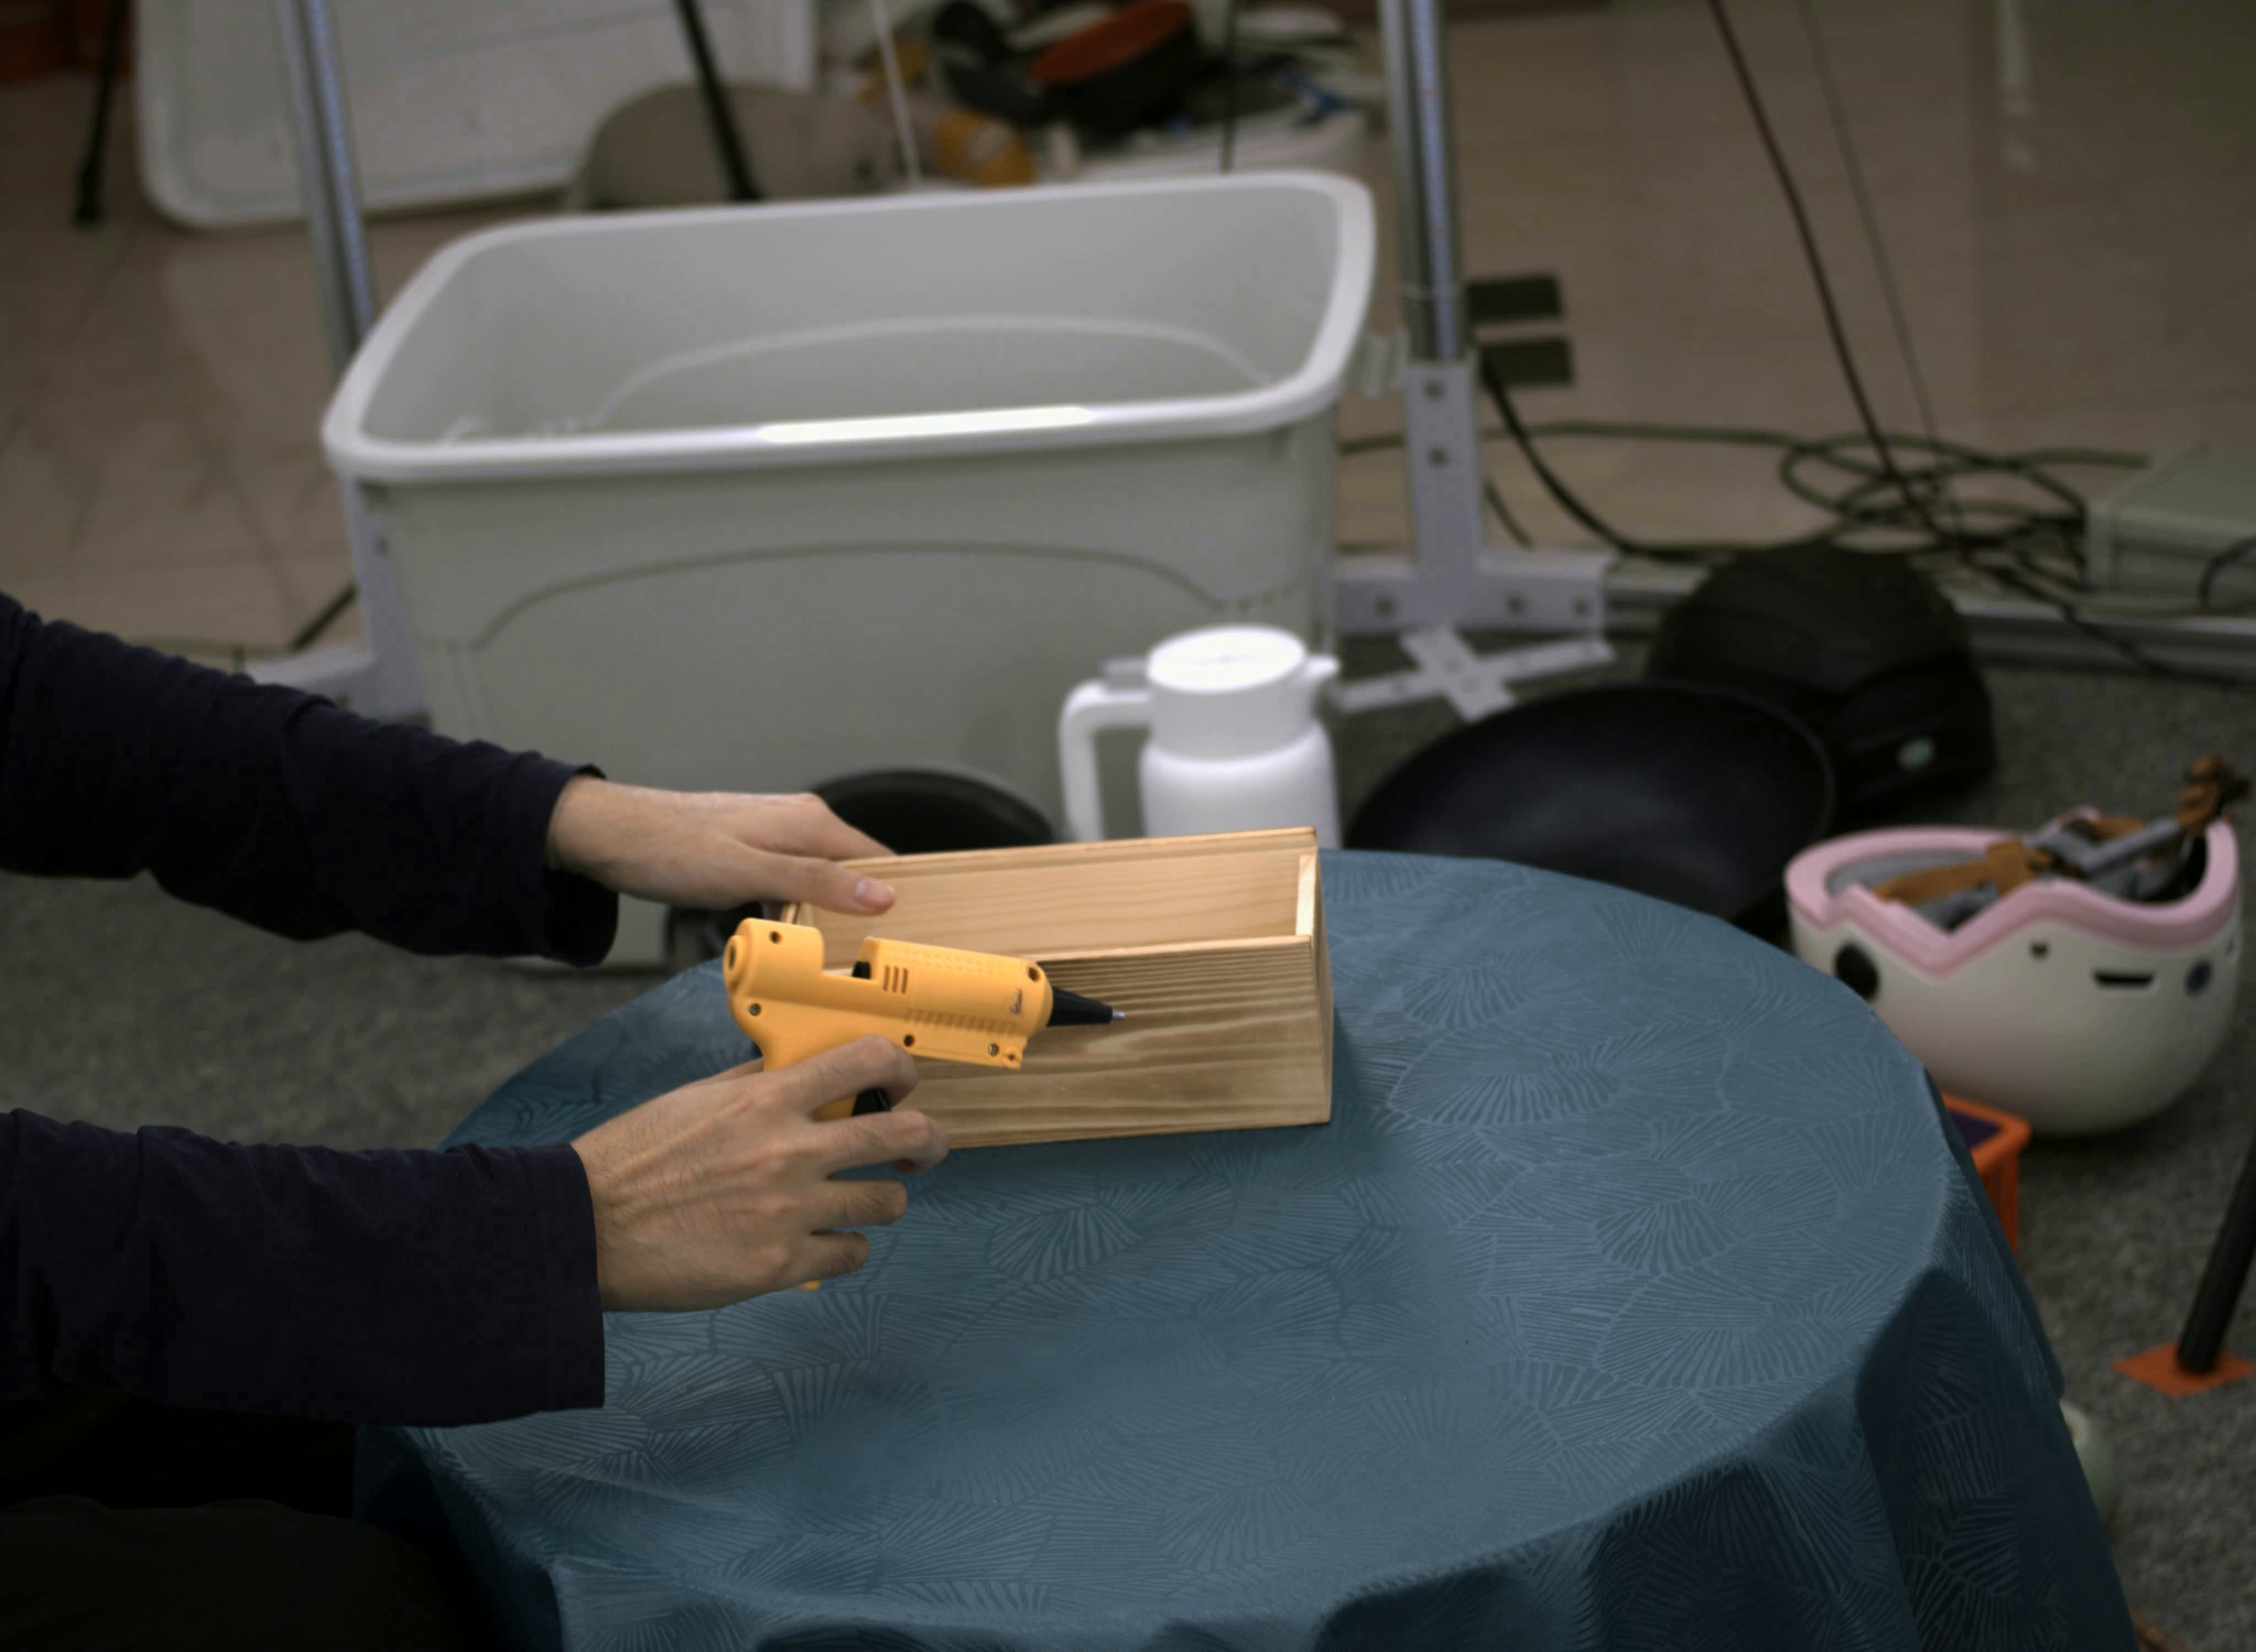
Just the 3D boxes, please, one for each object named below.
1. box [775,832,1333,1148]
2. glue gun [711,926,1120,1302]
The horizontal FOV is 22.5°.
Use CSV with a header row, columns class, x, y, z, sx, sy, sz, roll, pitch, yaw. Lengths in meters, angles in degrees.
class,x,y,z,sx,sy,sz,roll,pitch,yaw
box,-0.029,0.065,2.219,0.211,0.081,0.106,-3,26,5
glue gun,-0.075,0.105,2.030,0.151,0.133,0.031,3,-4,-19
